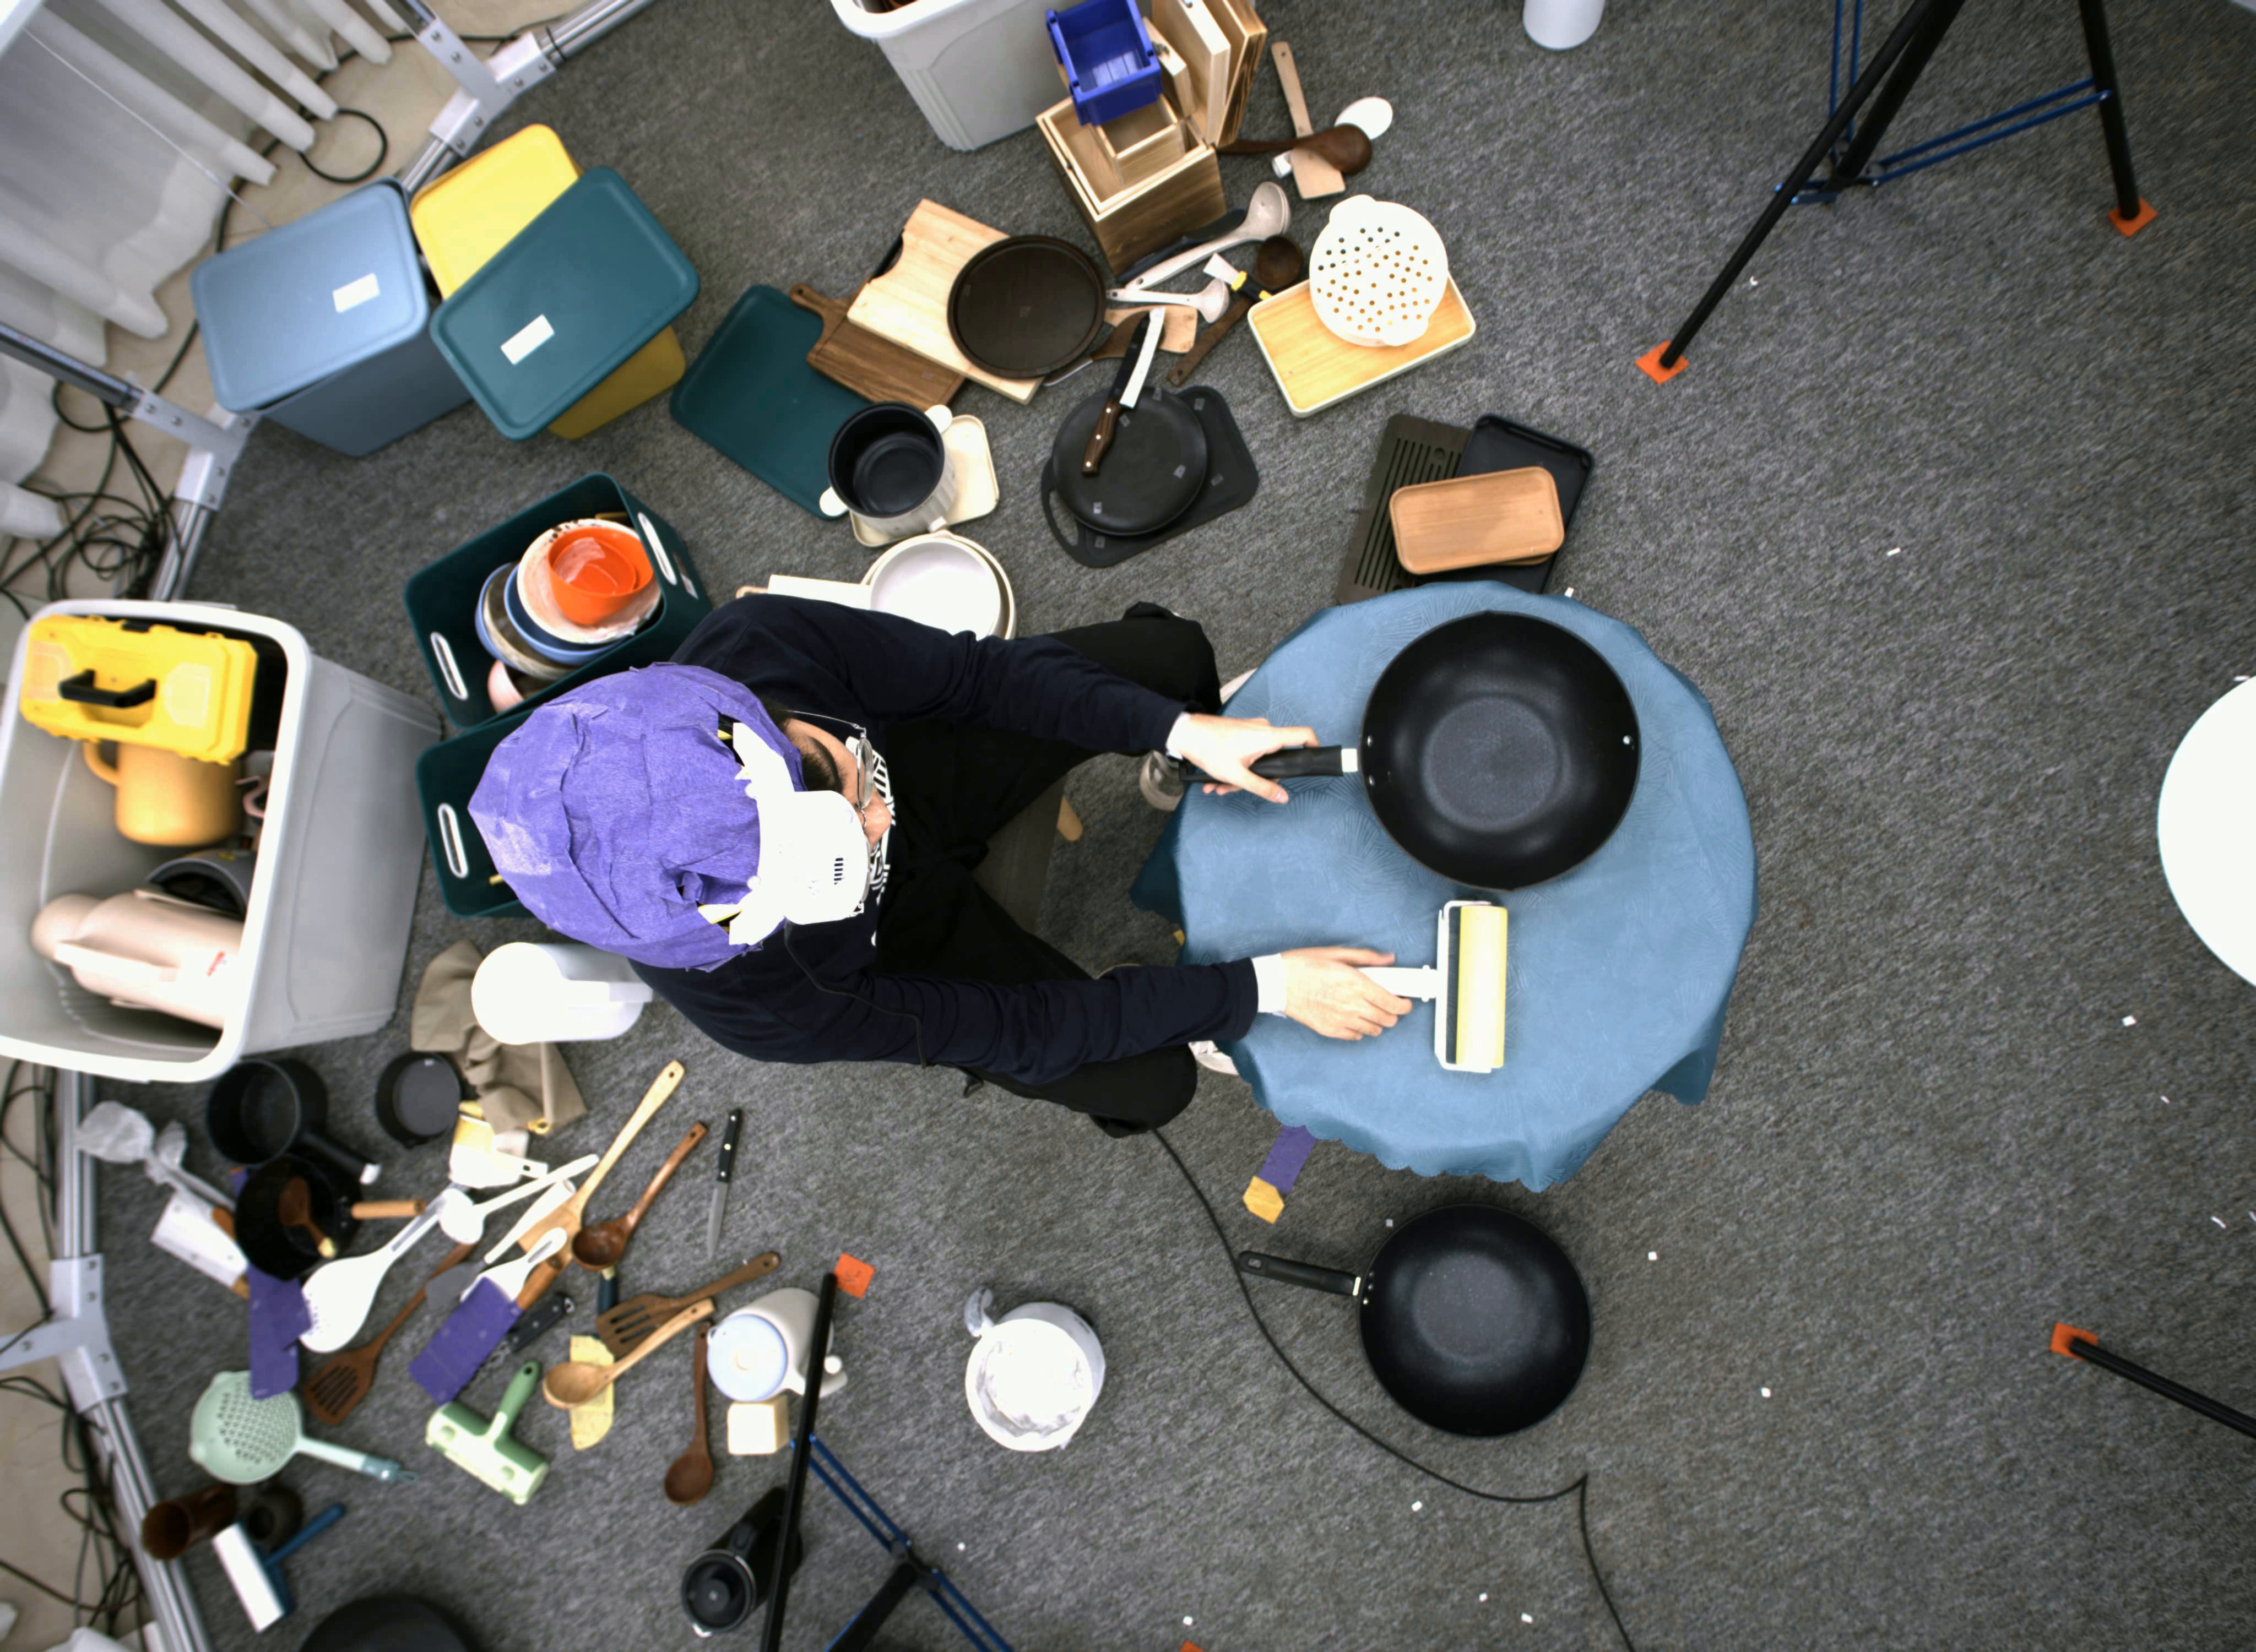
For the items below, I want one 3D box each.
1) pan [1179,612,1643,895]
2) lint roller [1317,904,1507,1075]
[{"bbox_3d":[0.286,-0.067,1.423,0.465,0.087,0.286,-4,85,11],"label":"pan"},{"bbox_3d":[0.291,0.163,1.427,0.193,0.051,0.173,2,86,10],"label":"lint roller"}]
